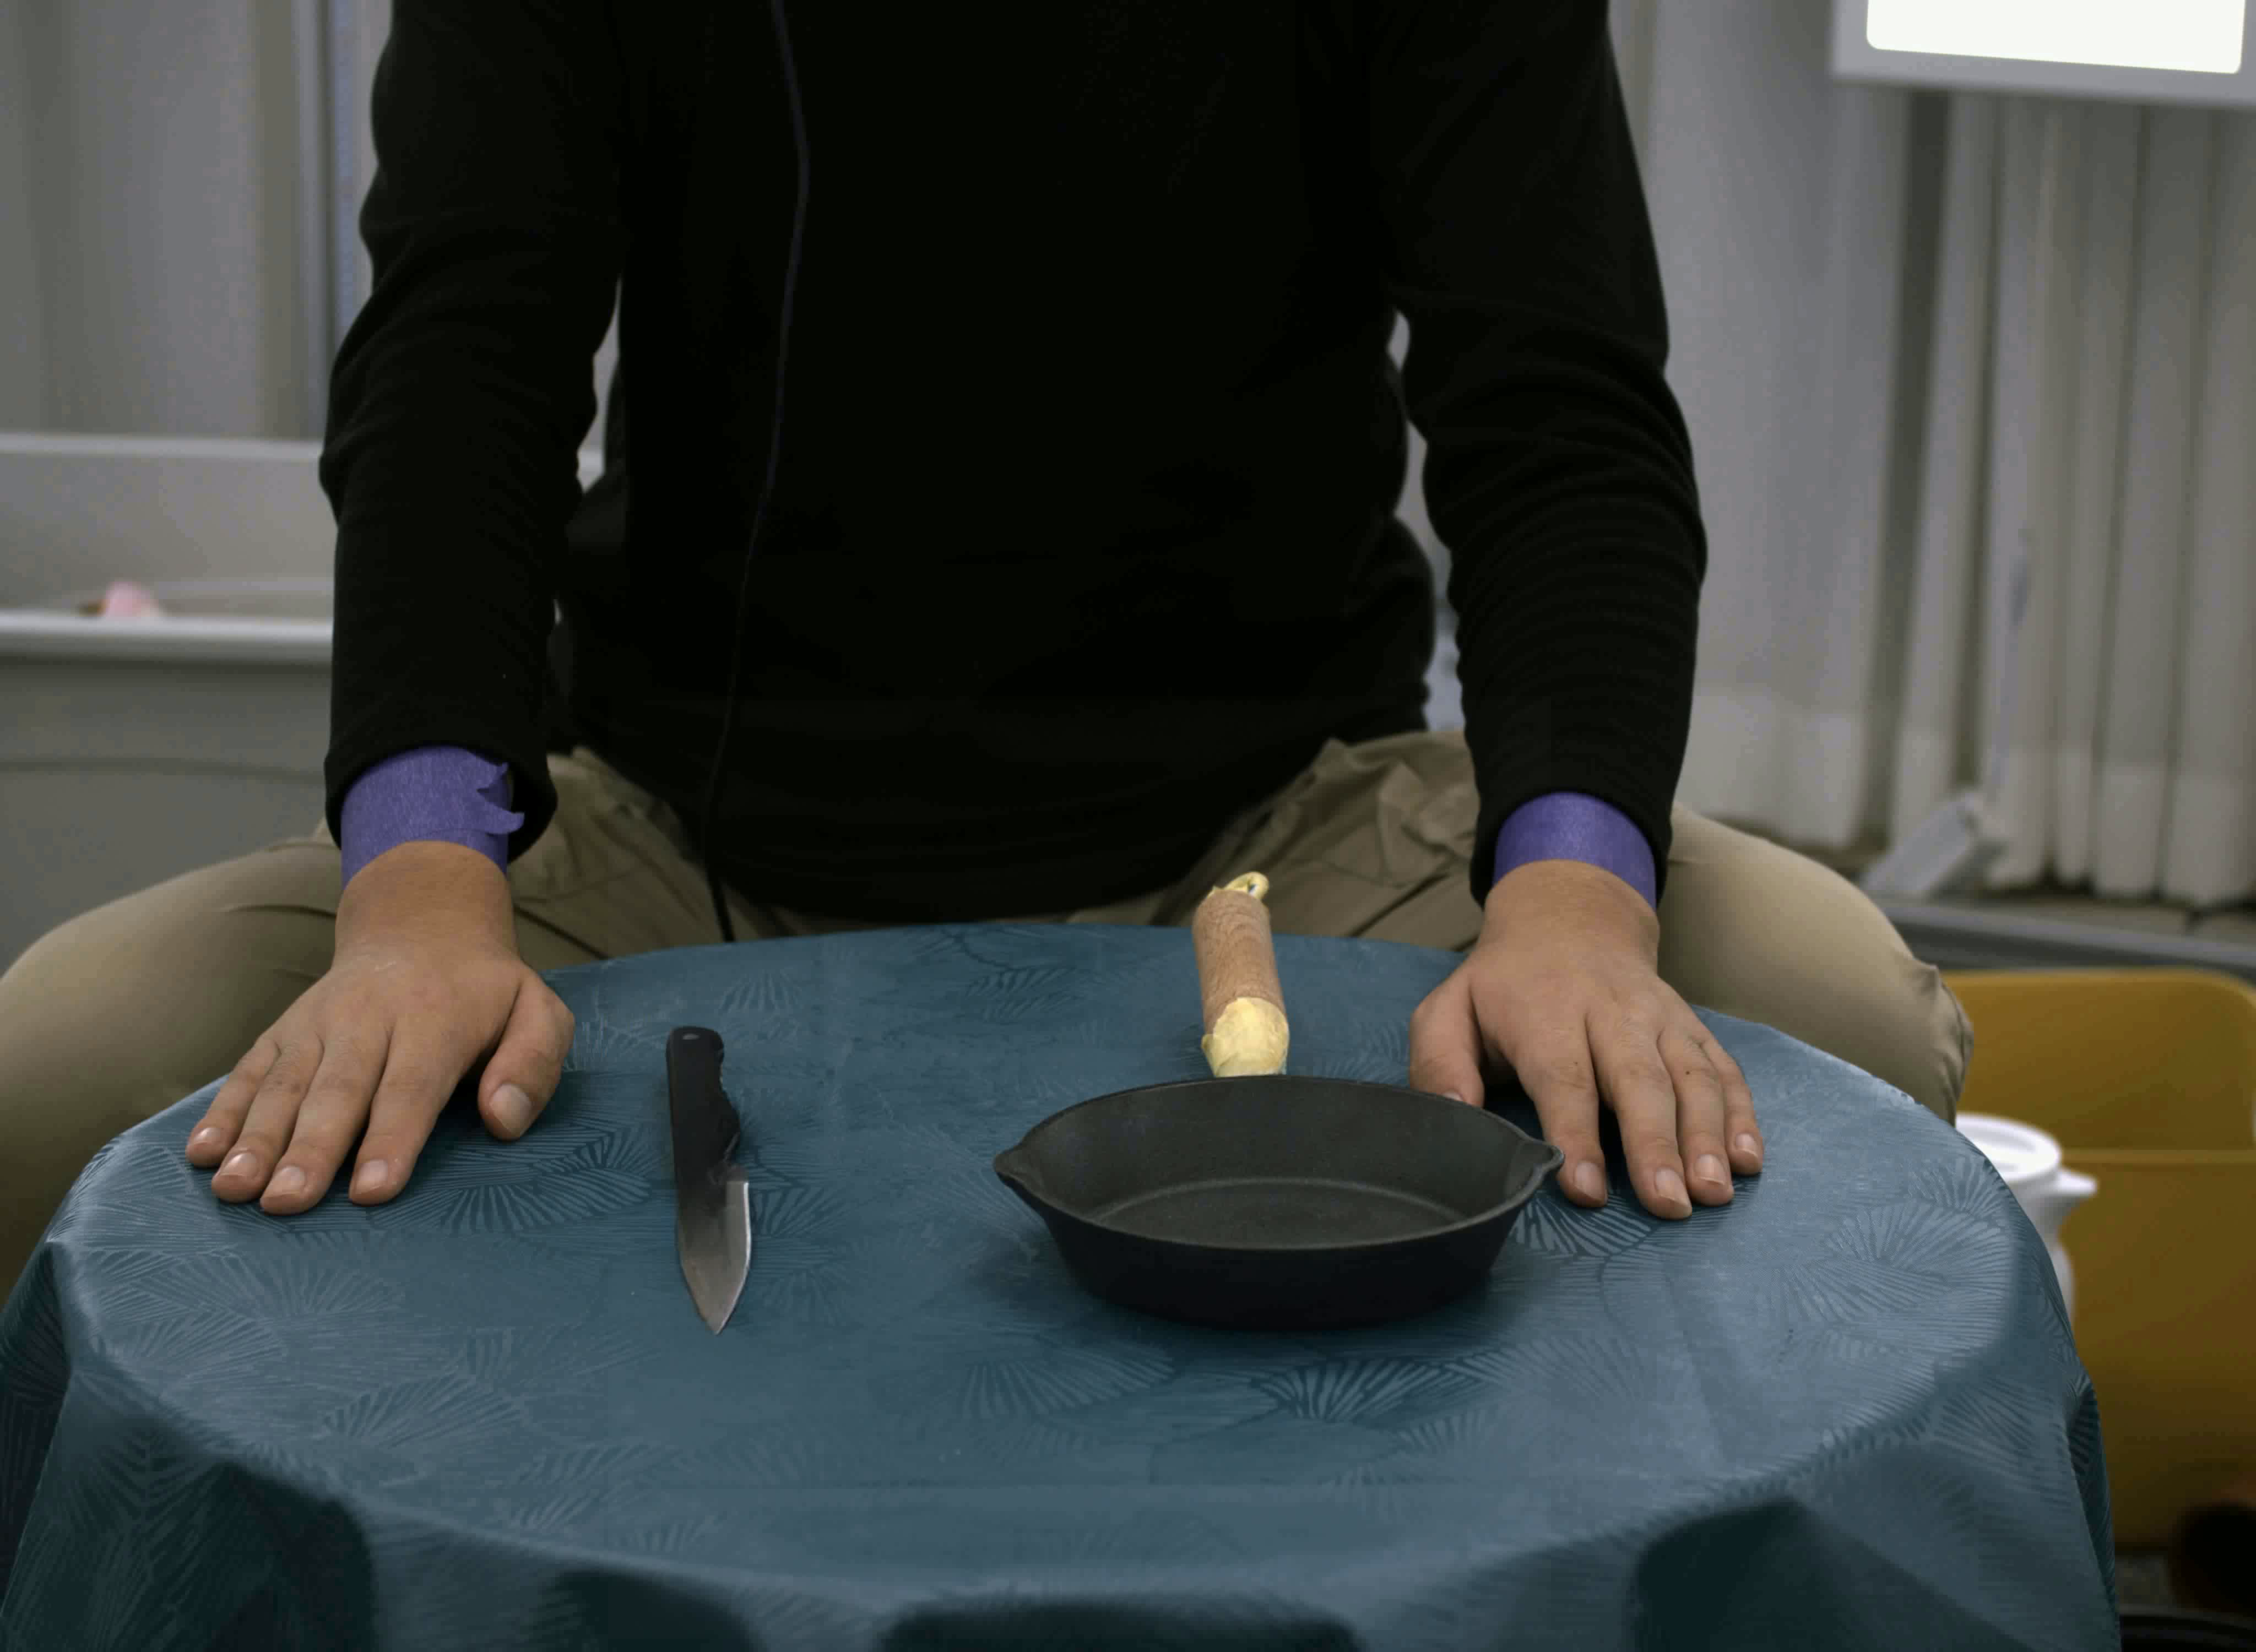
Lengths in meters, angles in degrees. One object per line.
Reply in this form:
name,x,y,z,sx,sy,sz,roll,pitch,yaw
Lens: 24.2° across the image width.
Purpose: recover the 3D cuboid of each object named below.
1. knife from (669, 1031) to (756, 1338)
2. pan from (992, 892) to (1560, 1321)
knife,-0.129,0.109,1.612,0.024,0.016,0.236,-1,18,-6
pan,0.043,0.084,1.640,0.168,0.050,0.322,0,15,-1
